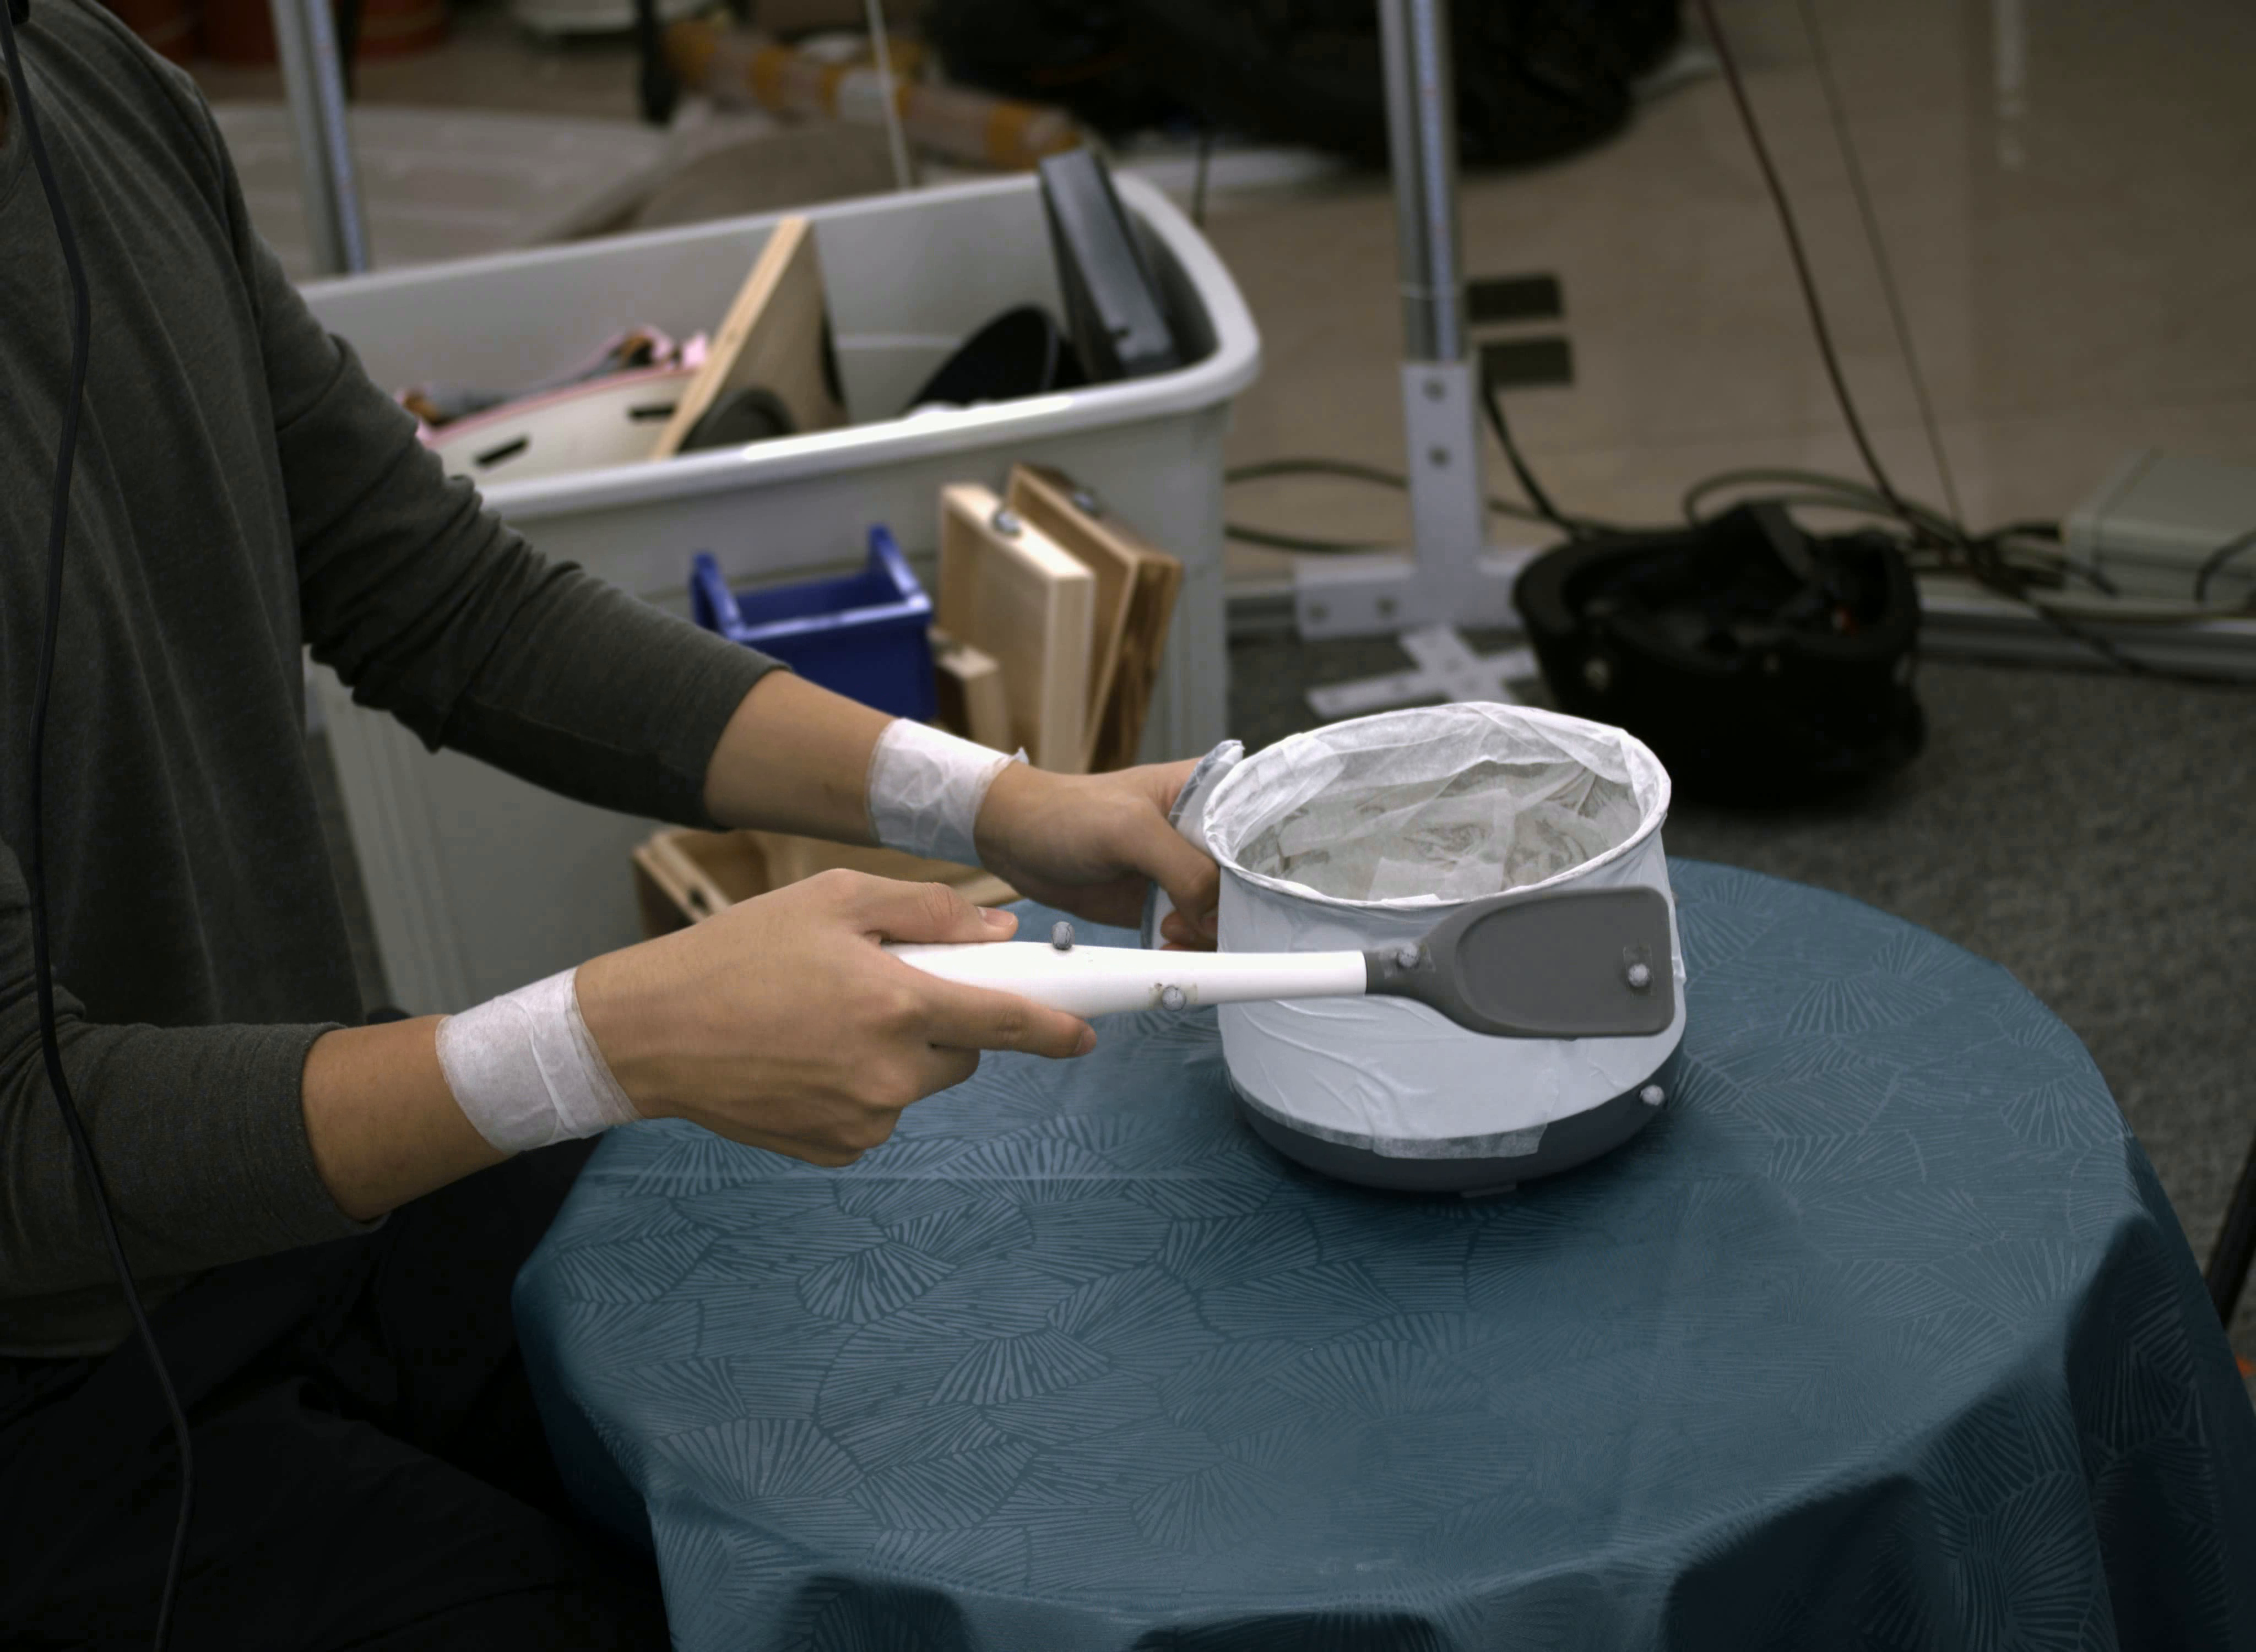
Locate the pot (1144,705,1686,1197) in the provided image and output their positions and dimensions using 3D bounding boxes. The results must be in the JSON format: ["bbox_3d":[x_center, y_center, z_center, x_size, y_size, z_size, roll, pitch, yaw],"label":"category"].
[{"bbox_3d":[0.100,0.043,2.167,0.232,0.139,0.177,14,32,36],"label":"pot"}]

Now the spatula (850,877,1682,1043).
[{"bbox_3d":[0.049,0.049,1.912,0.287,0.058,0.032,-2,-6,-15],"label":"spatula"}]
